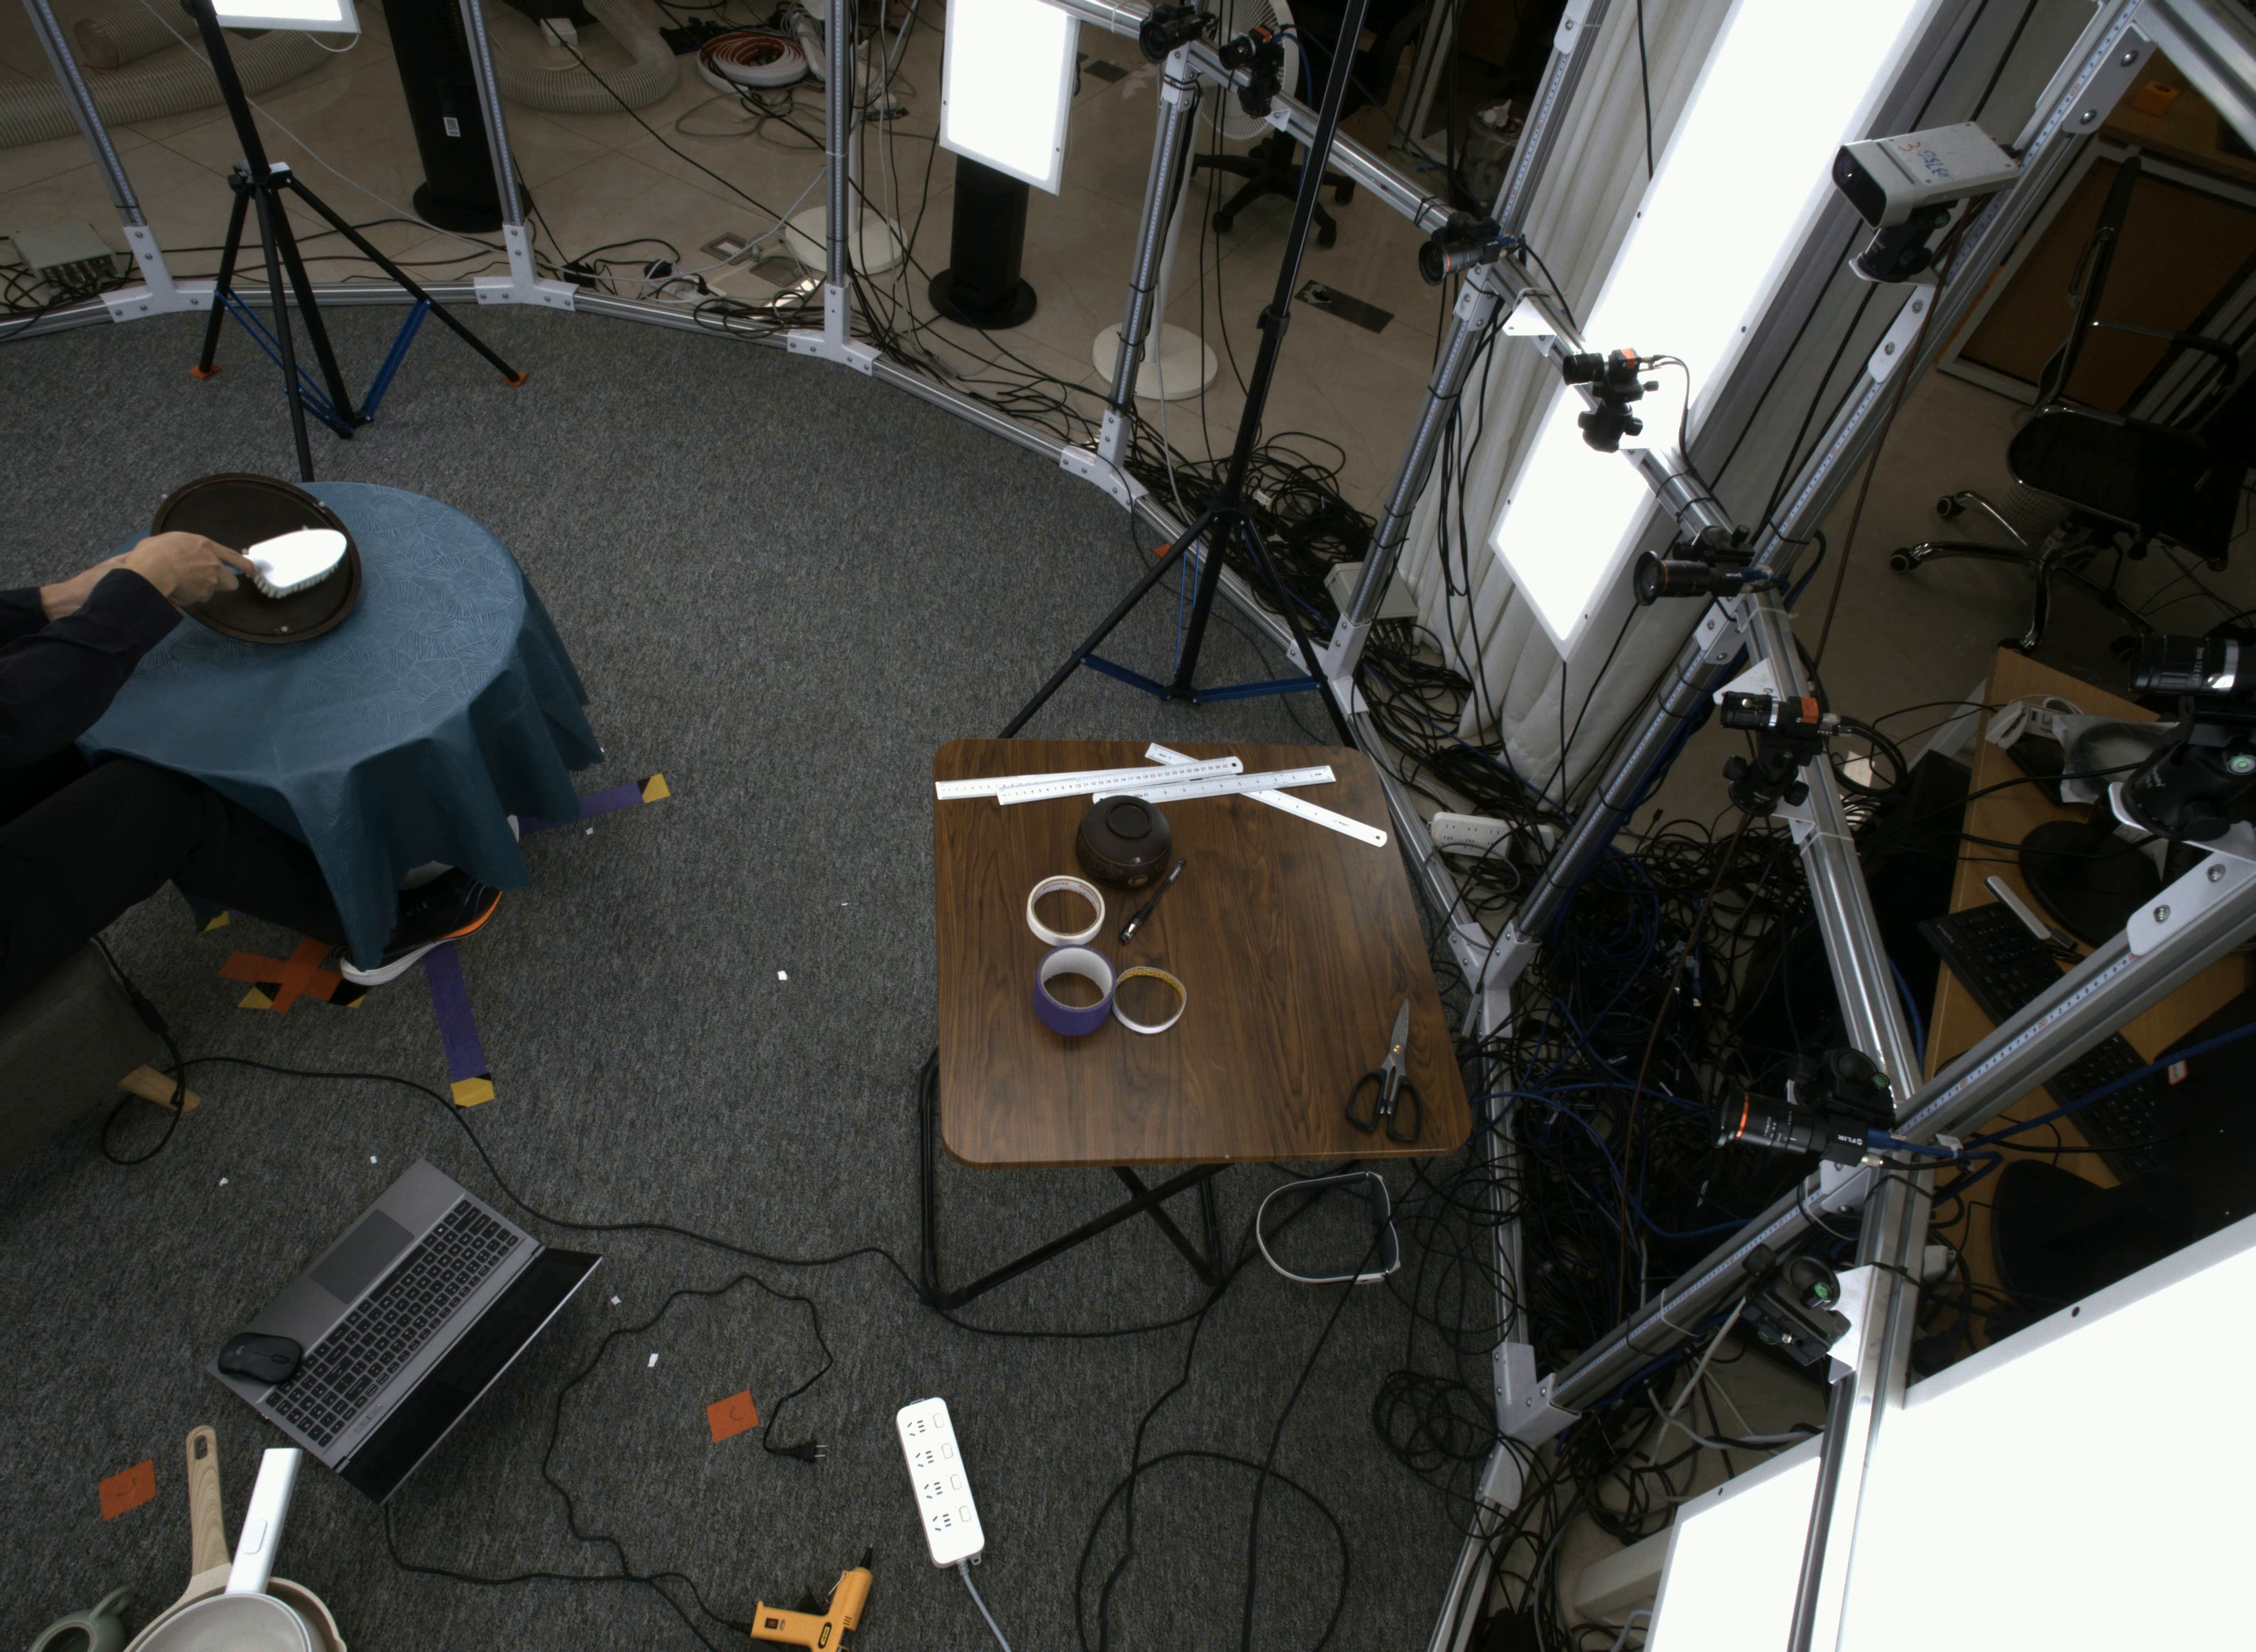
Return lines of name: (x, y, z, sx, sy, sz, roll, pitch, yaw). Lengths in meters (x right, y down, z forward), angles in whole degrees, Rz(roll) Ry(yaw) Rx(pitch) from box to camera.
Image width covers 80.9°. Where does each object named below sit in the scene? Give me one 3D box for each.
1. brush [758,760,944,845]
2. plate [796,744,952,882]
brush: (-0.427, -0.033, 1.965, 0.334, 0.085, 0.080, 17, 10, -44)
plate: (-0.404, -0.022, 2.068, 0.258, 0.029, 0.251, 17, 55, -22)
